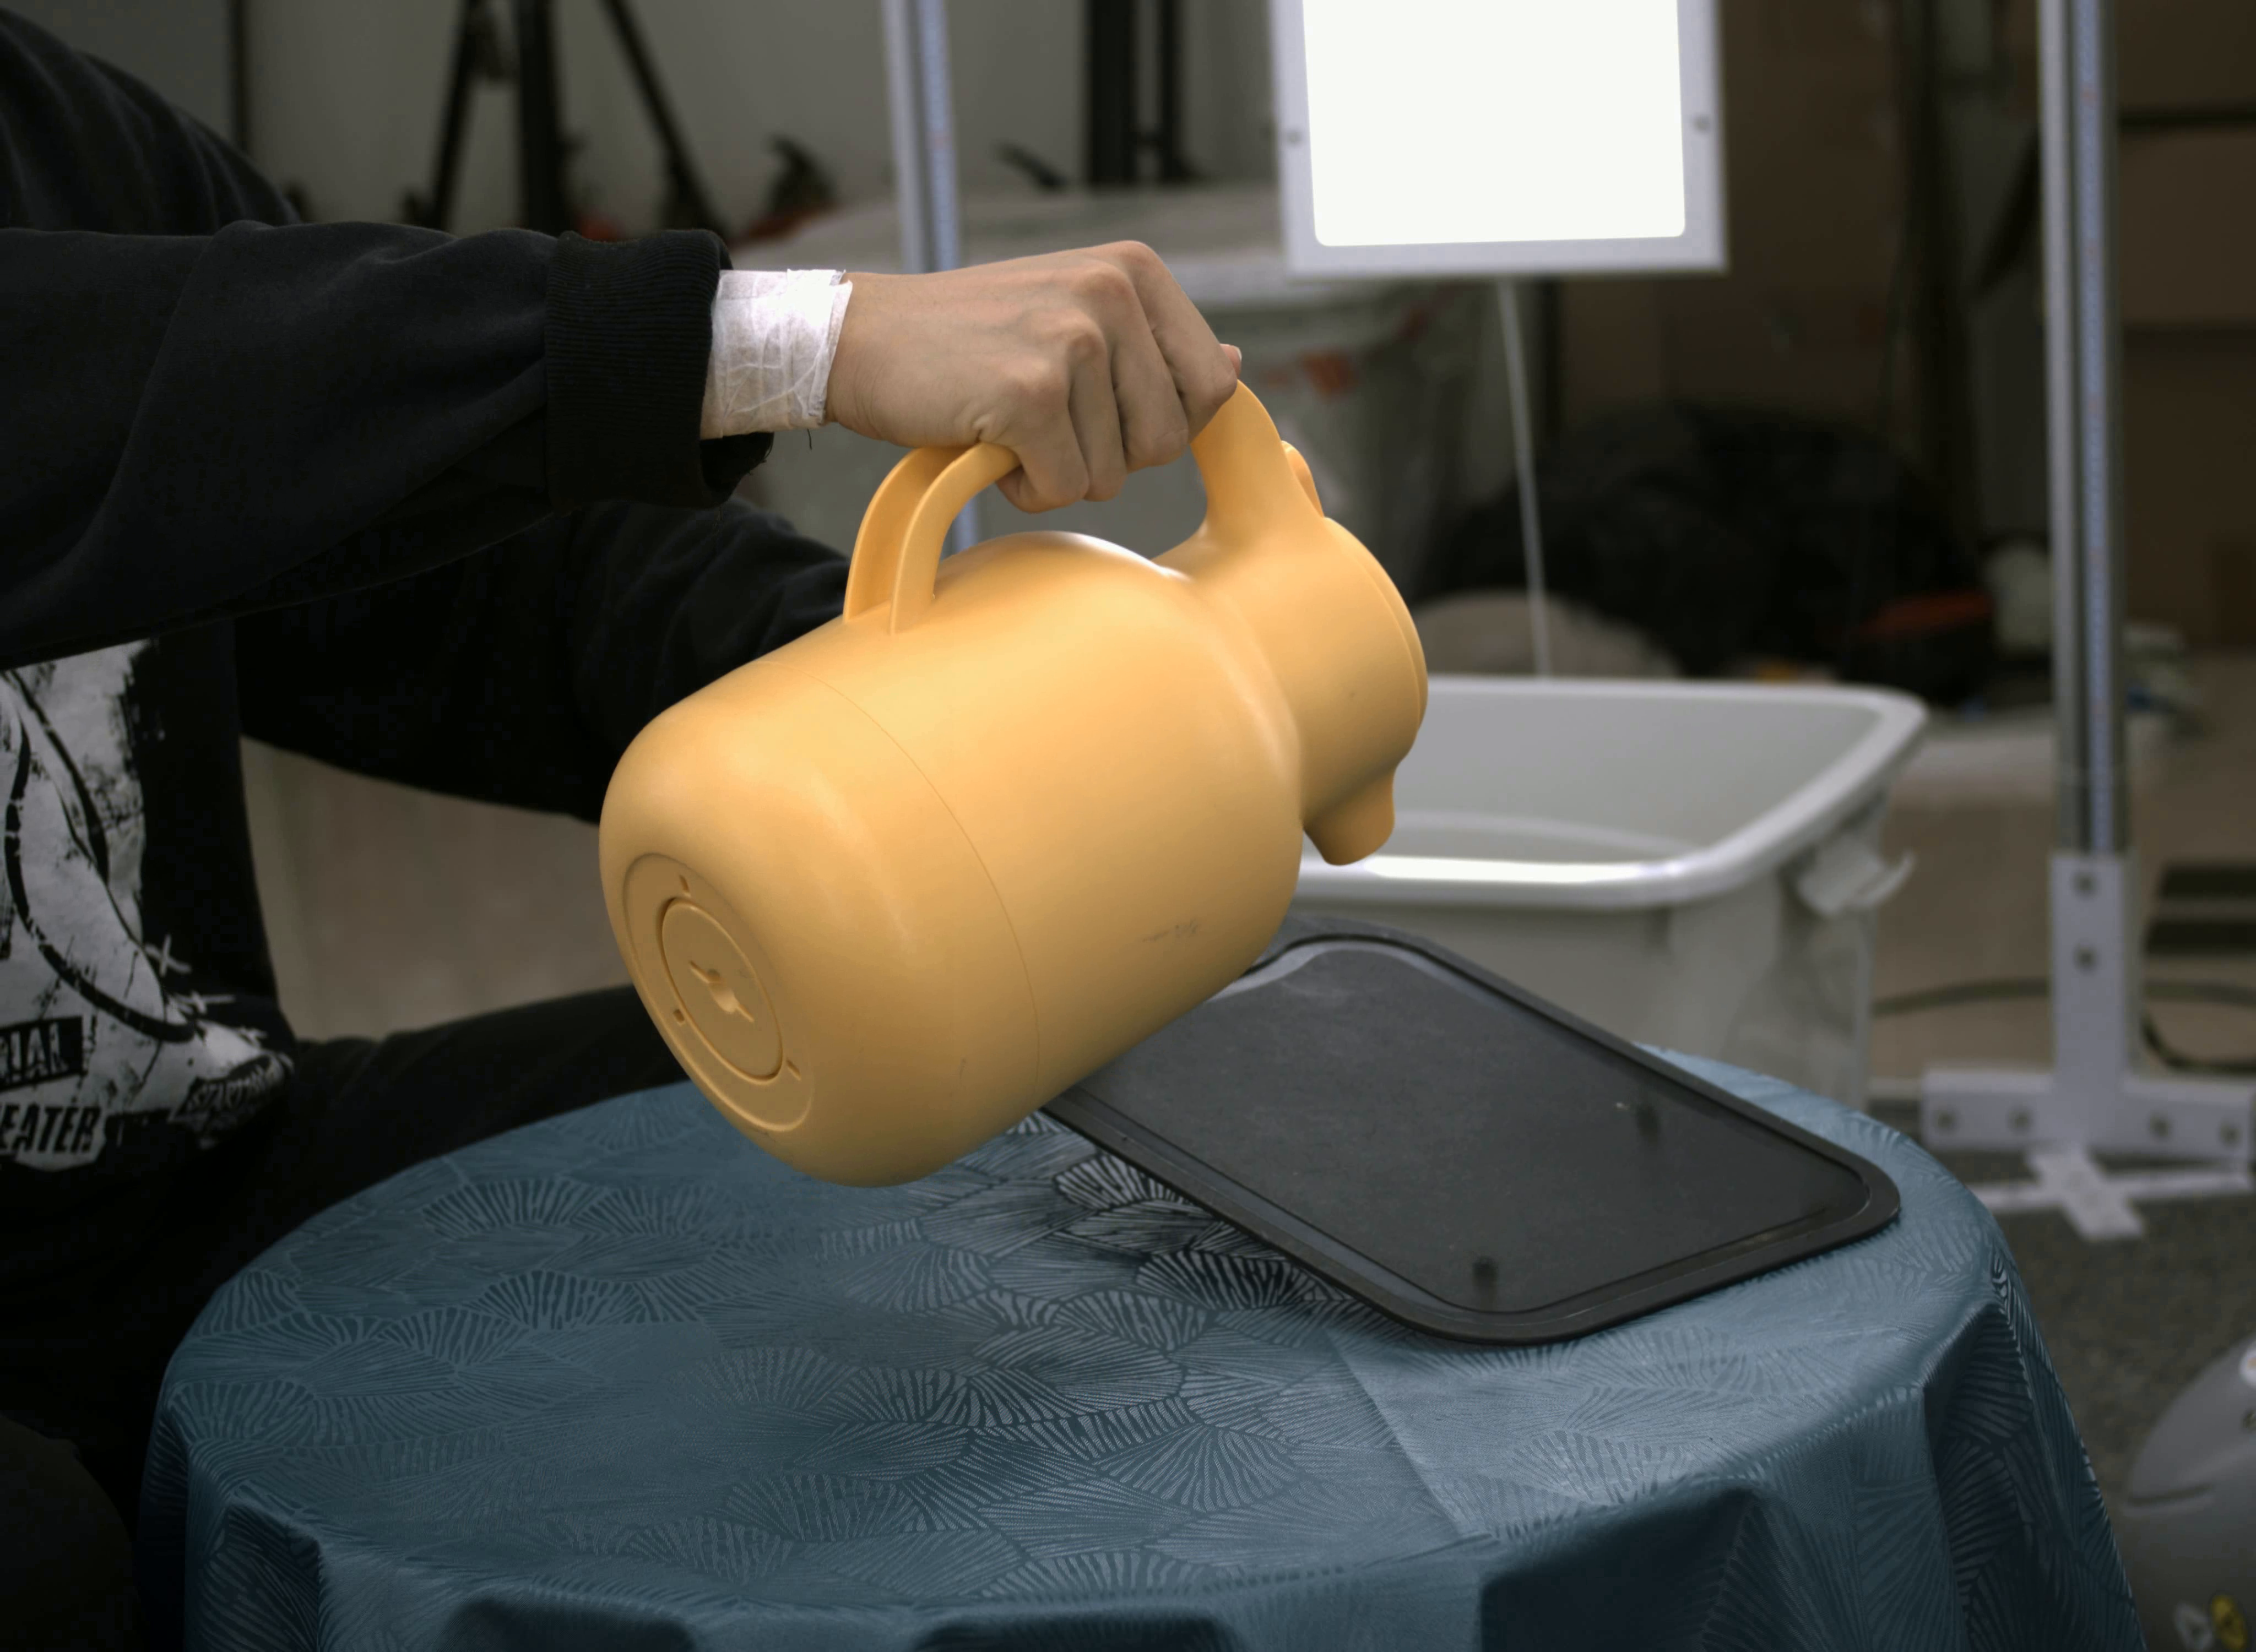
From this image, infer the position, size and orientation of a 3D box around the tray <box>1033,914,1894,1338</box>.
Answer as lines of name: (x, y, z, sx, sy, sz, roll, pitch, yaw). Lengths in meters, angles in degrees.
tray: (0.091, 0.093, 1.866, 0.206, 0.010, 0.331, -14, 27, -34)

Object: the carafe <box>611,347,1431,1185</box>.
carafe: (-0.030, -0.027, 1.701, 0.255, 0.202, 0.167, -31, 24, -30)
